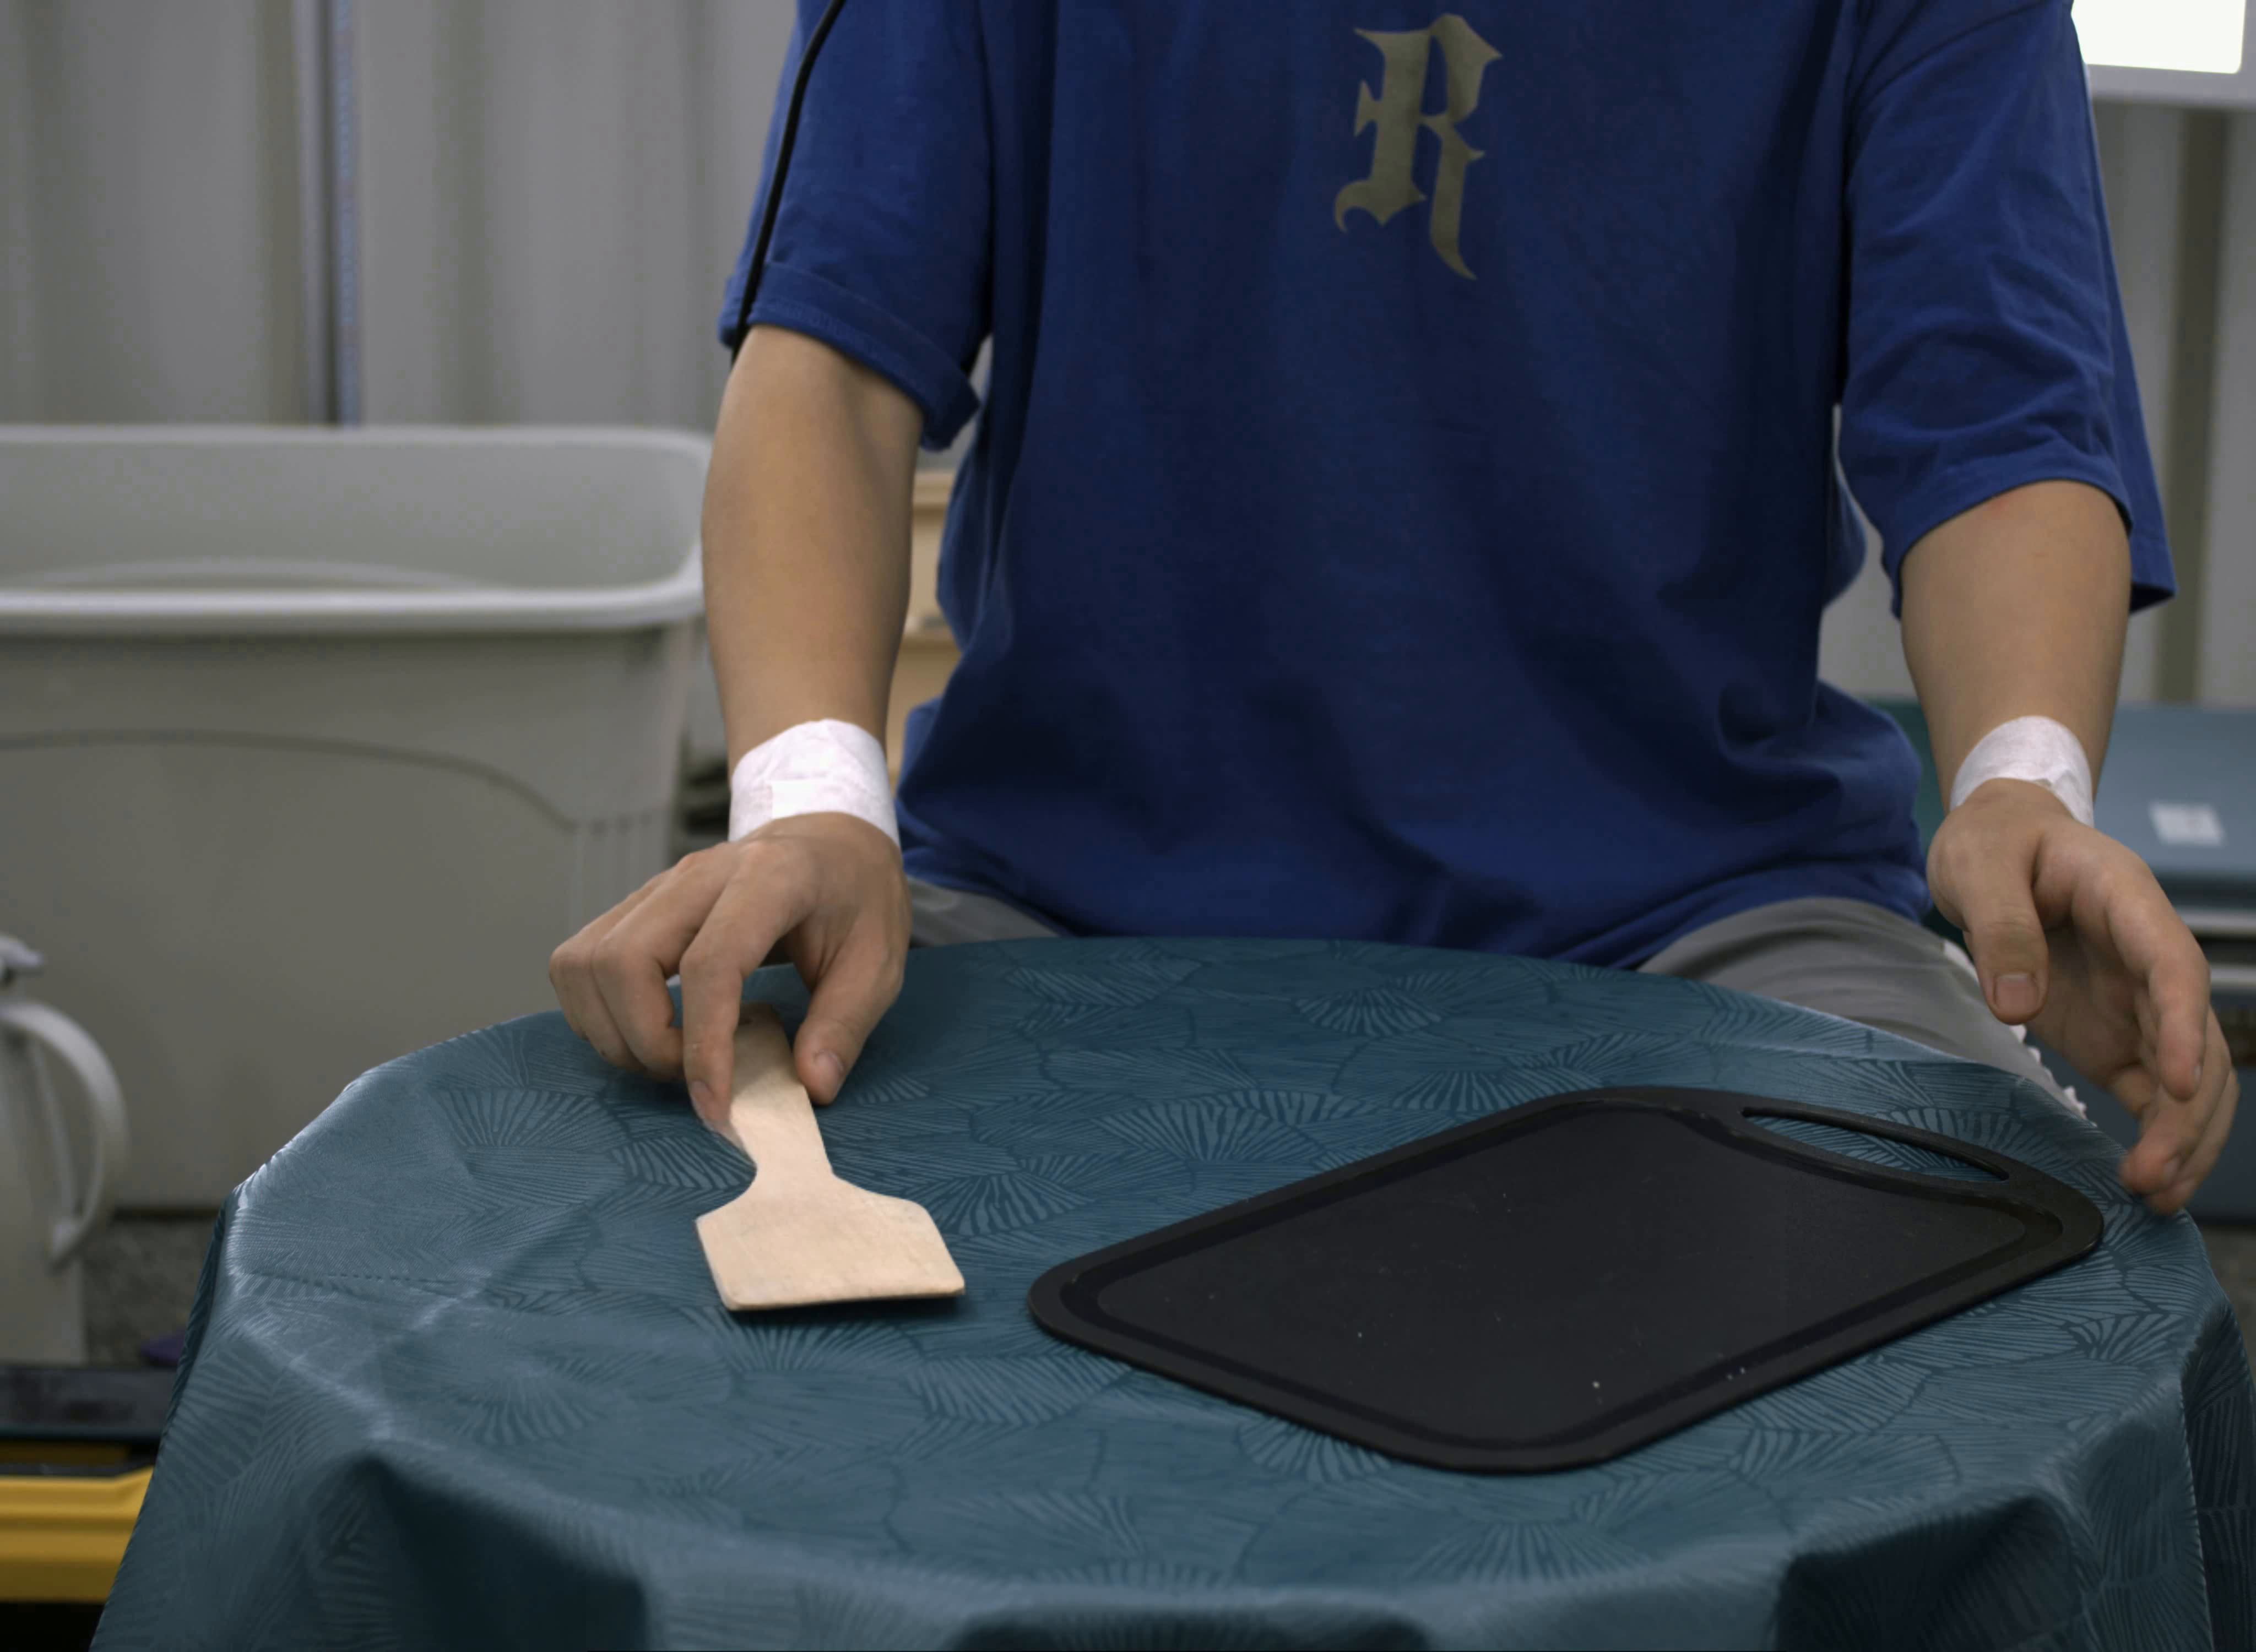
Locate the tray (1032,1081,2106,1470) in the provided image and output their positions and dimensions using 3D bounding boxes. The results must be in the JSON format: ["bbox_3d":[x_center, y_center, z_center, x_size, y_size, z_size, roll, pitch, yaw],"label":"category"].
[{"bbox_3d":[0.139,0.124,1.567,0.208,0.010,0.327,15,21,42],"label":"tray"}]

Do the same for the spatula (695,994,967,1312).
[{"bbox_3d":[-0.108,0.099,1.647,0.072,0.011,0.290,-3,16,-11],"label":"spatula"}]
